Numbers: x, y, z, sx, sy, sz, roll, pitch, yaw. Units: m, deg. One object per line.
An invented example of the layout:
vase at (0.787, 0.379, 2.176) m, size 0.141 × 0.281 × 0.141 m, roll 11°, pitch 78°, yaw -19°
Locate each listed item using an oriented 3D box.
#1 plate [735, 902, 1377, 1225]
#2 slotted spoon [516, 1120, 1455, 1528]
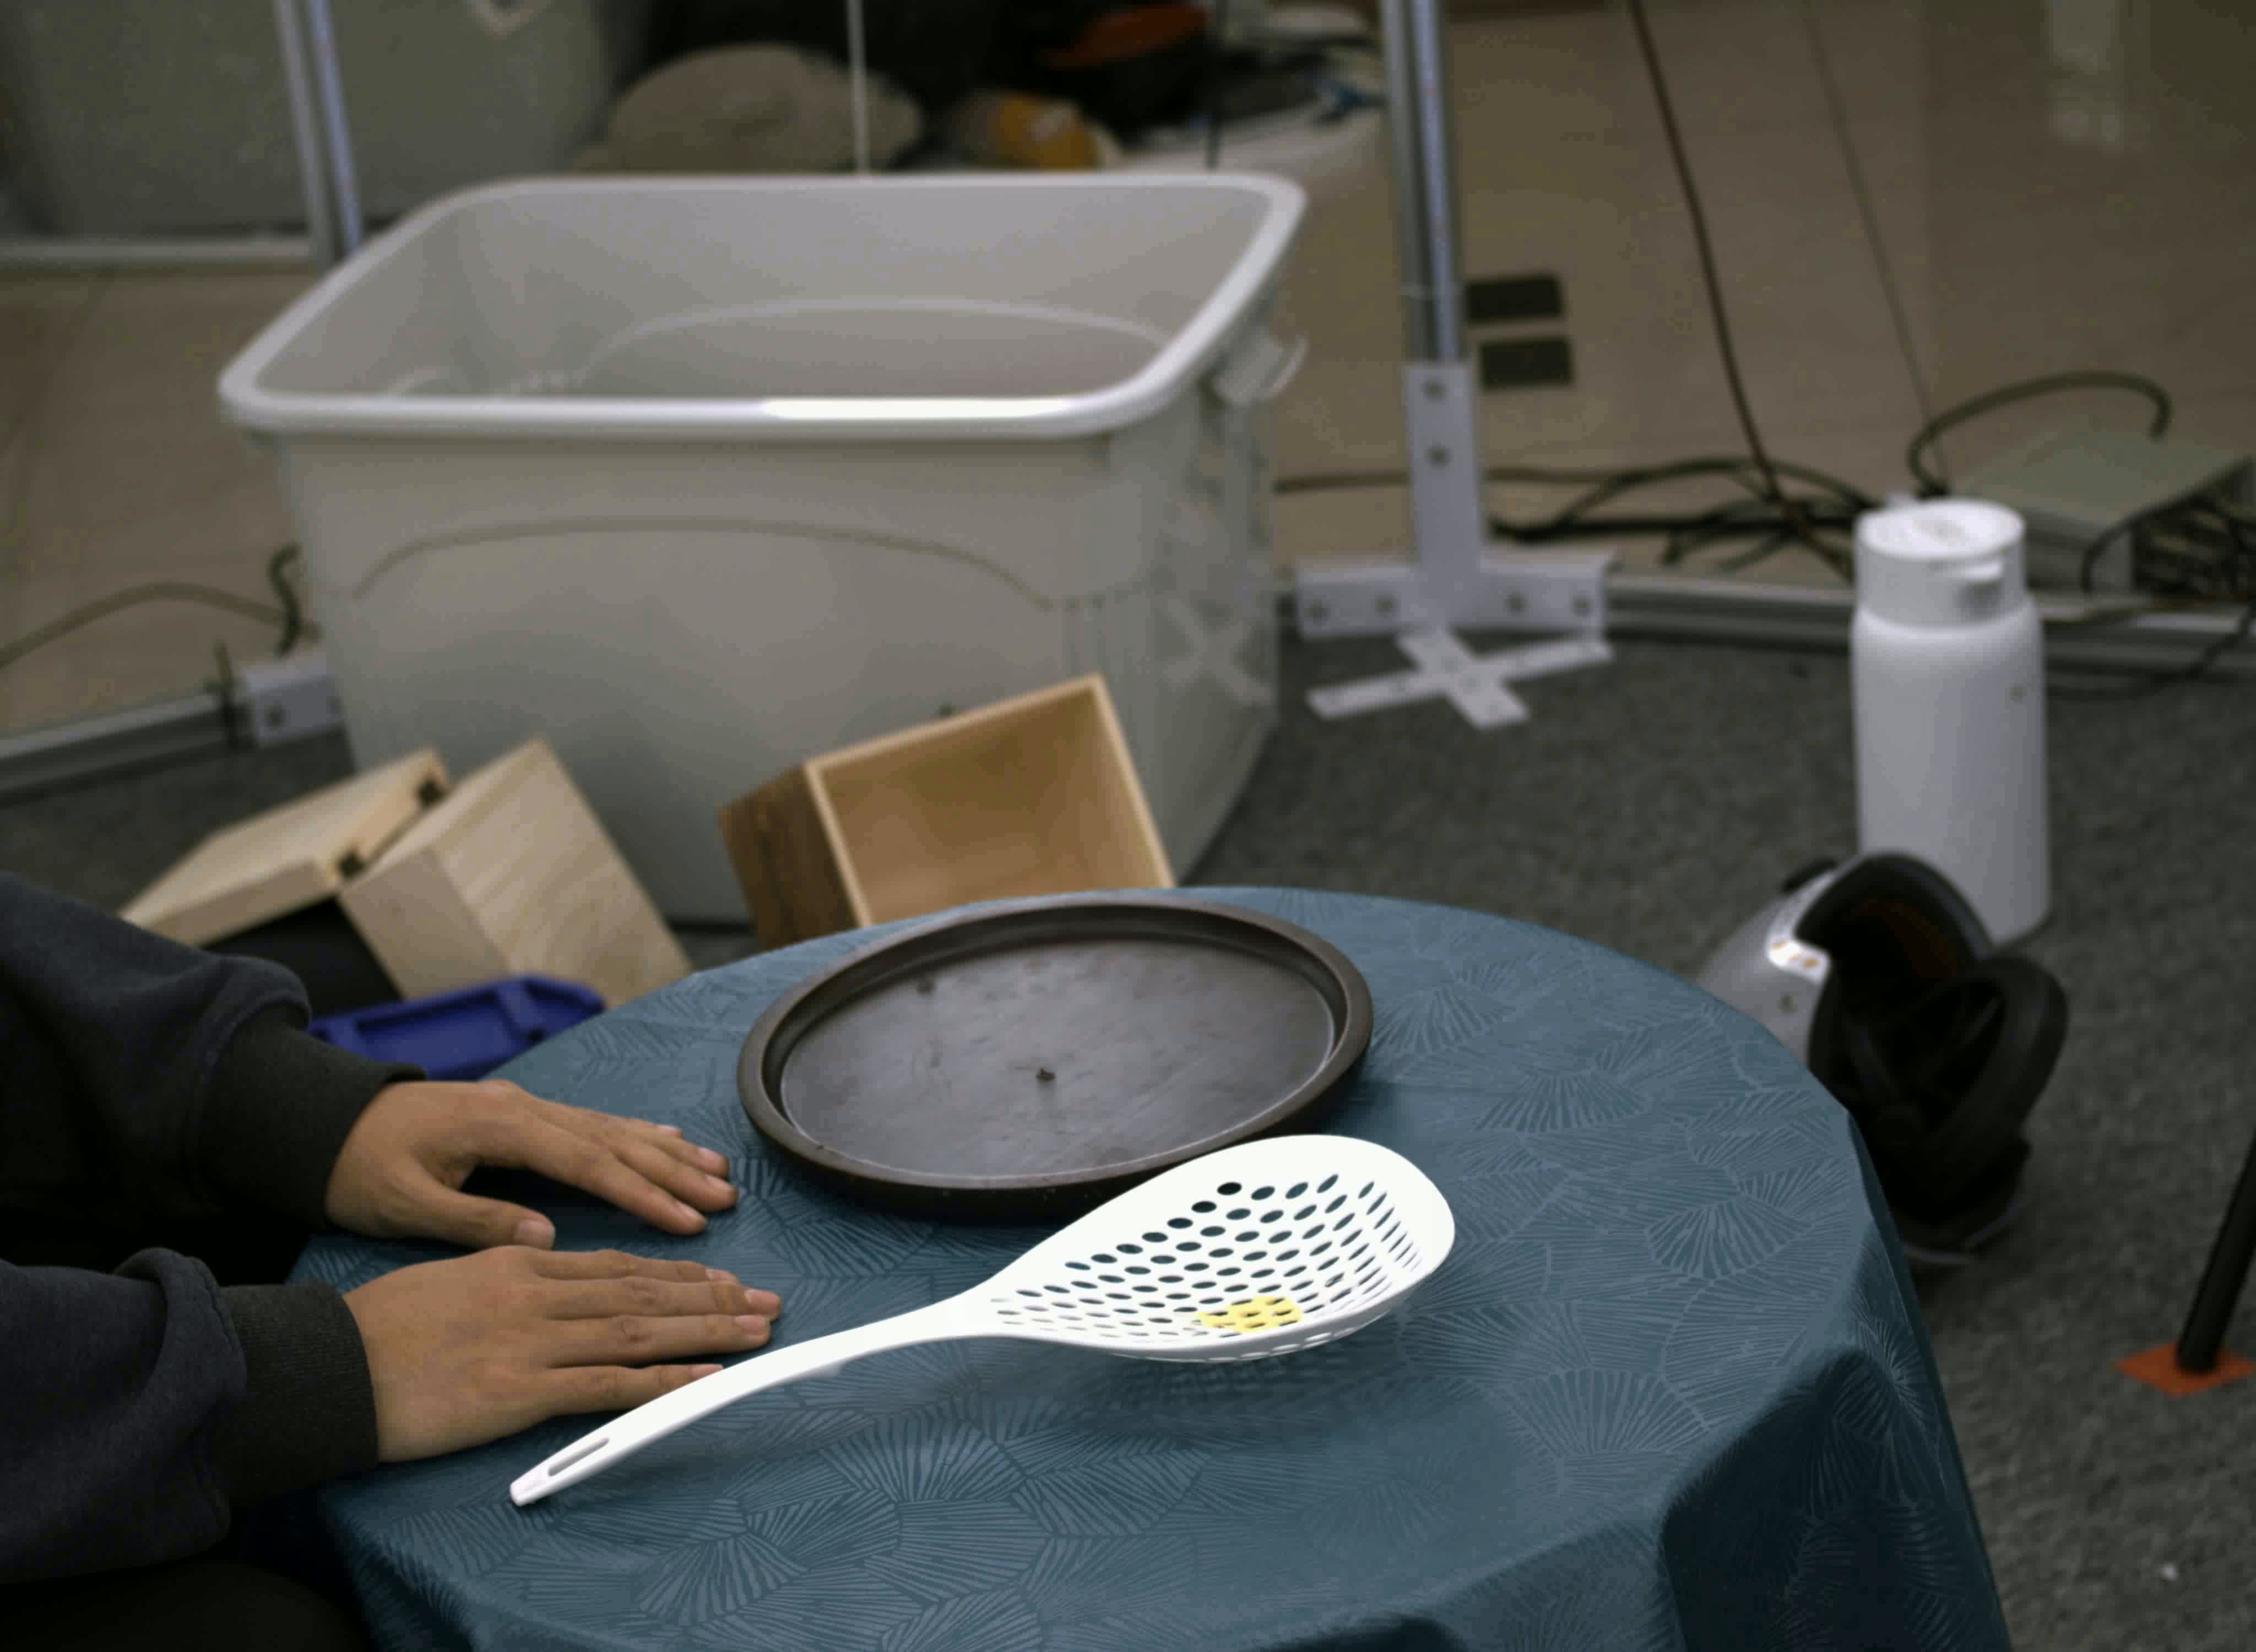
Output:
plate at (-0.028, 0.091, 2.228) m, size 0.254 × 0.029 × 0.251 m, roll -5°, pitch 26°, yaw 3°
slotted spoon at (-0.052, 0.183, 2.015) m, size 0.347 × 0.051 × 0.135 m, roll -12°, pitch 28°, yaw -12°
